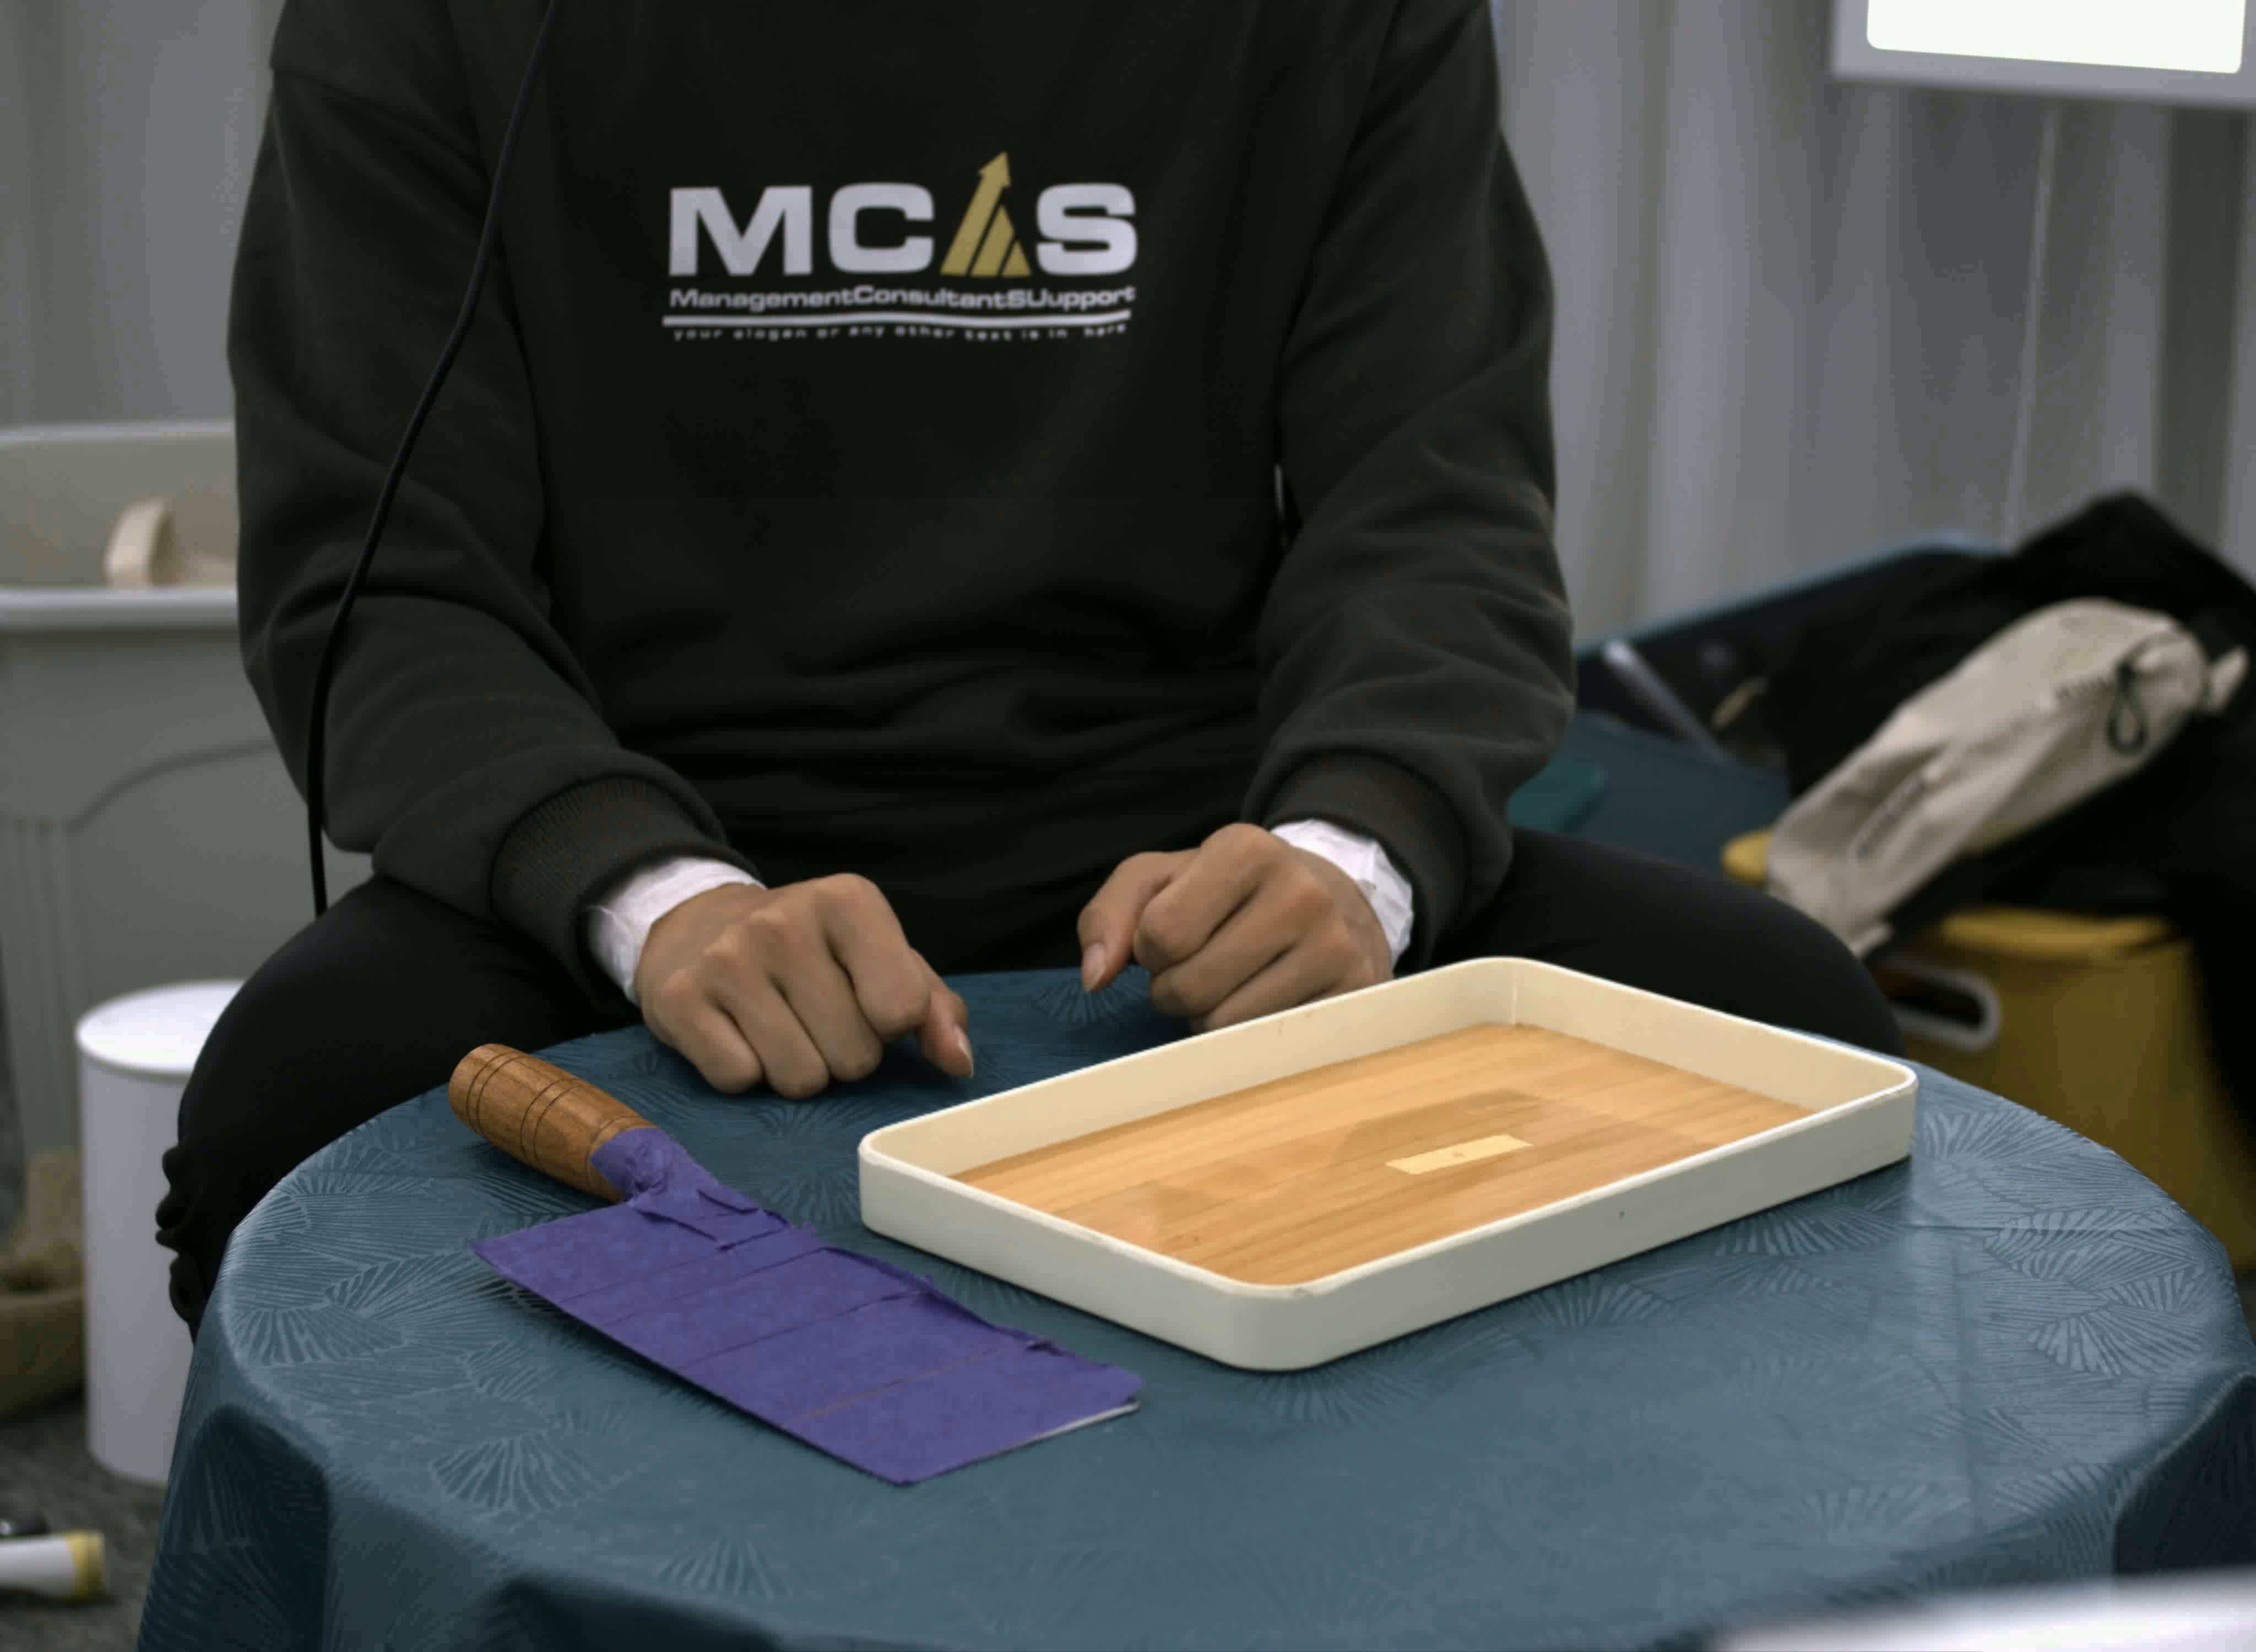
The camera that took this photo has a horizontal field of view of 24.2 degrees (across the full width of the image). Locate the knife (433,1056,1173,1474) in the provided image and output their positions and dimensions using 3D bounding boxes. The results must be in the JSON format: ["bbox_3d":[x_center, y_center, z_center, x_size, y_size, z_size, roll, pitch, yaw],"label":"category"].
[{"bbox_3d":[-0.126,0.124,1.528,0.104,0.032,0.311,-13,21,-40],"label":"knife"}]

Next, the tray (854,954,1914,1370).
[{"bbox_3d":[0.082,0.099,1.627,0.302,0.027,0.189,-14,21,-42],"label":"tray"}]
